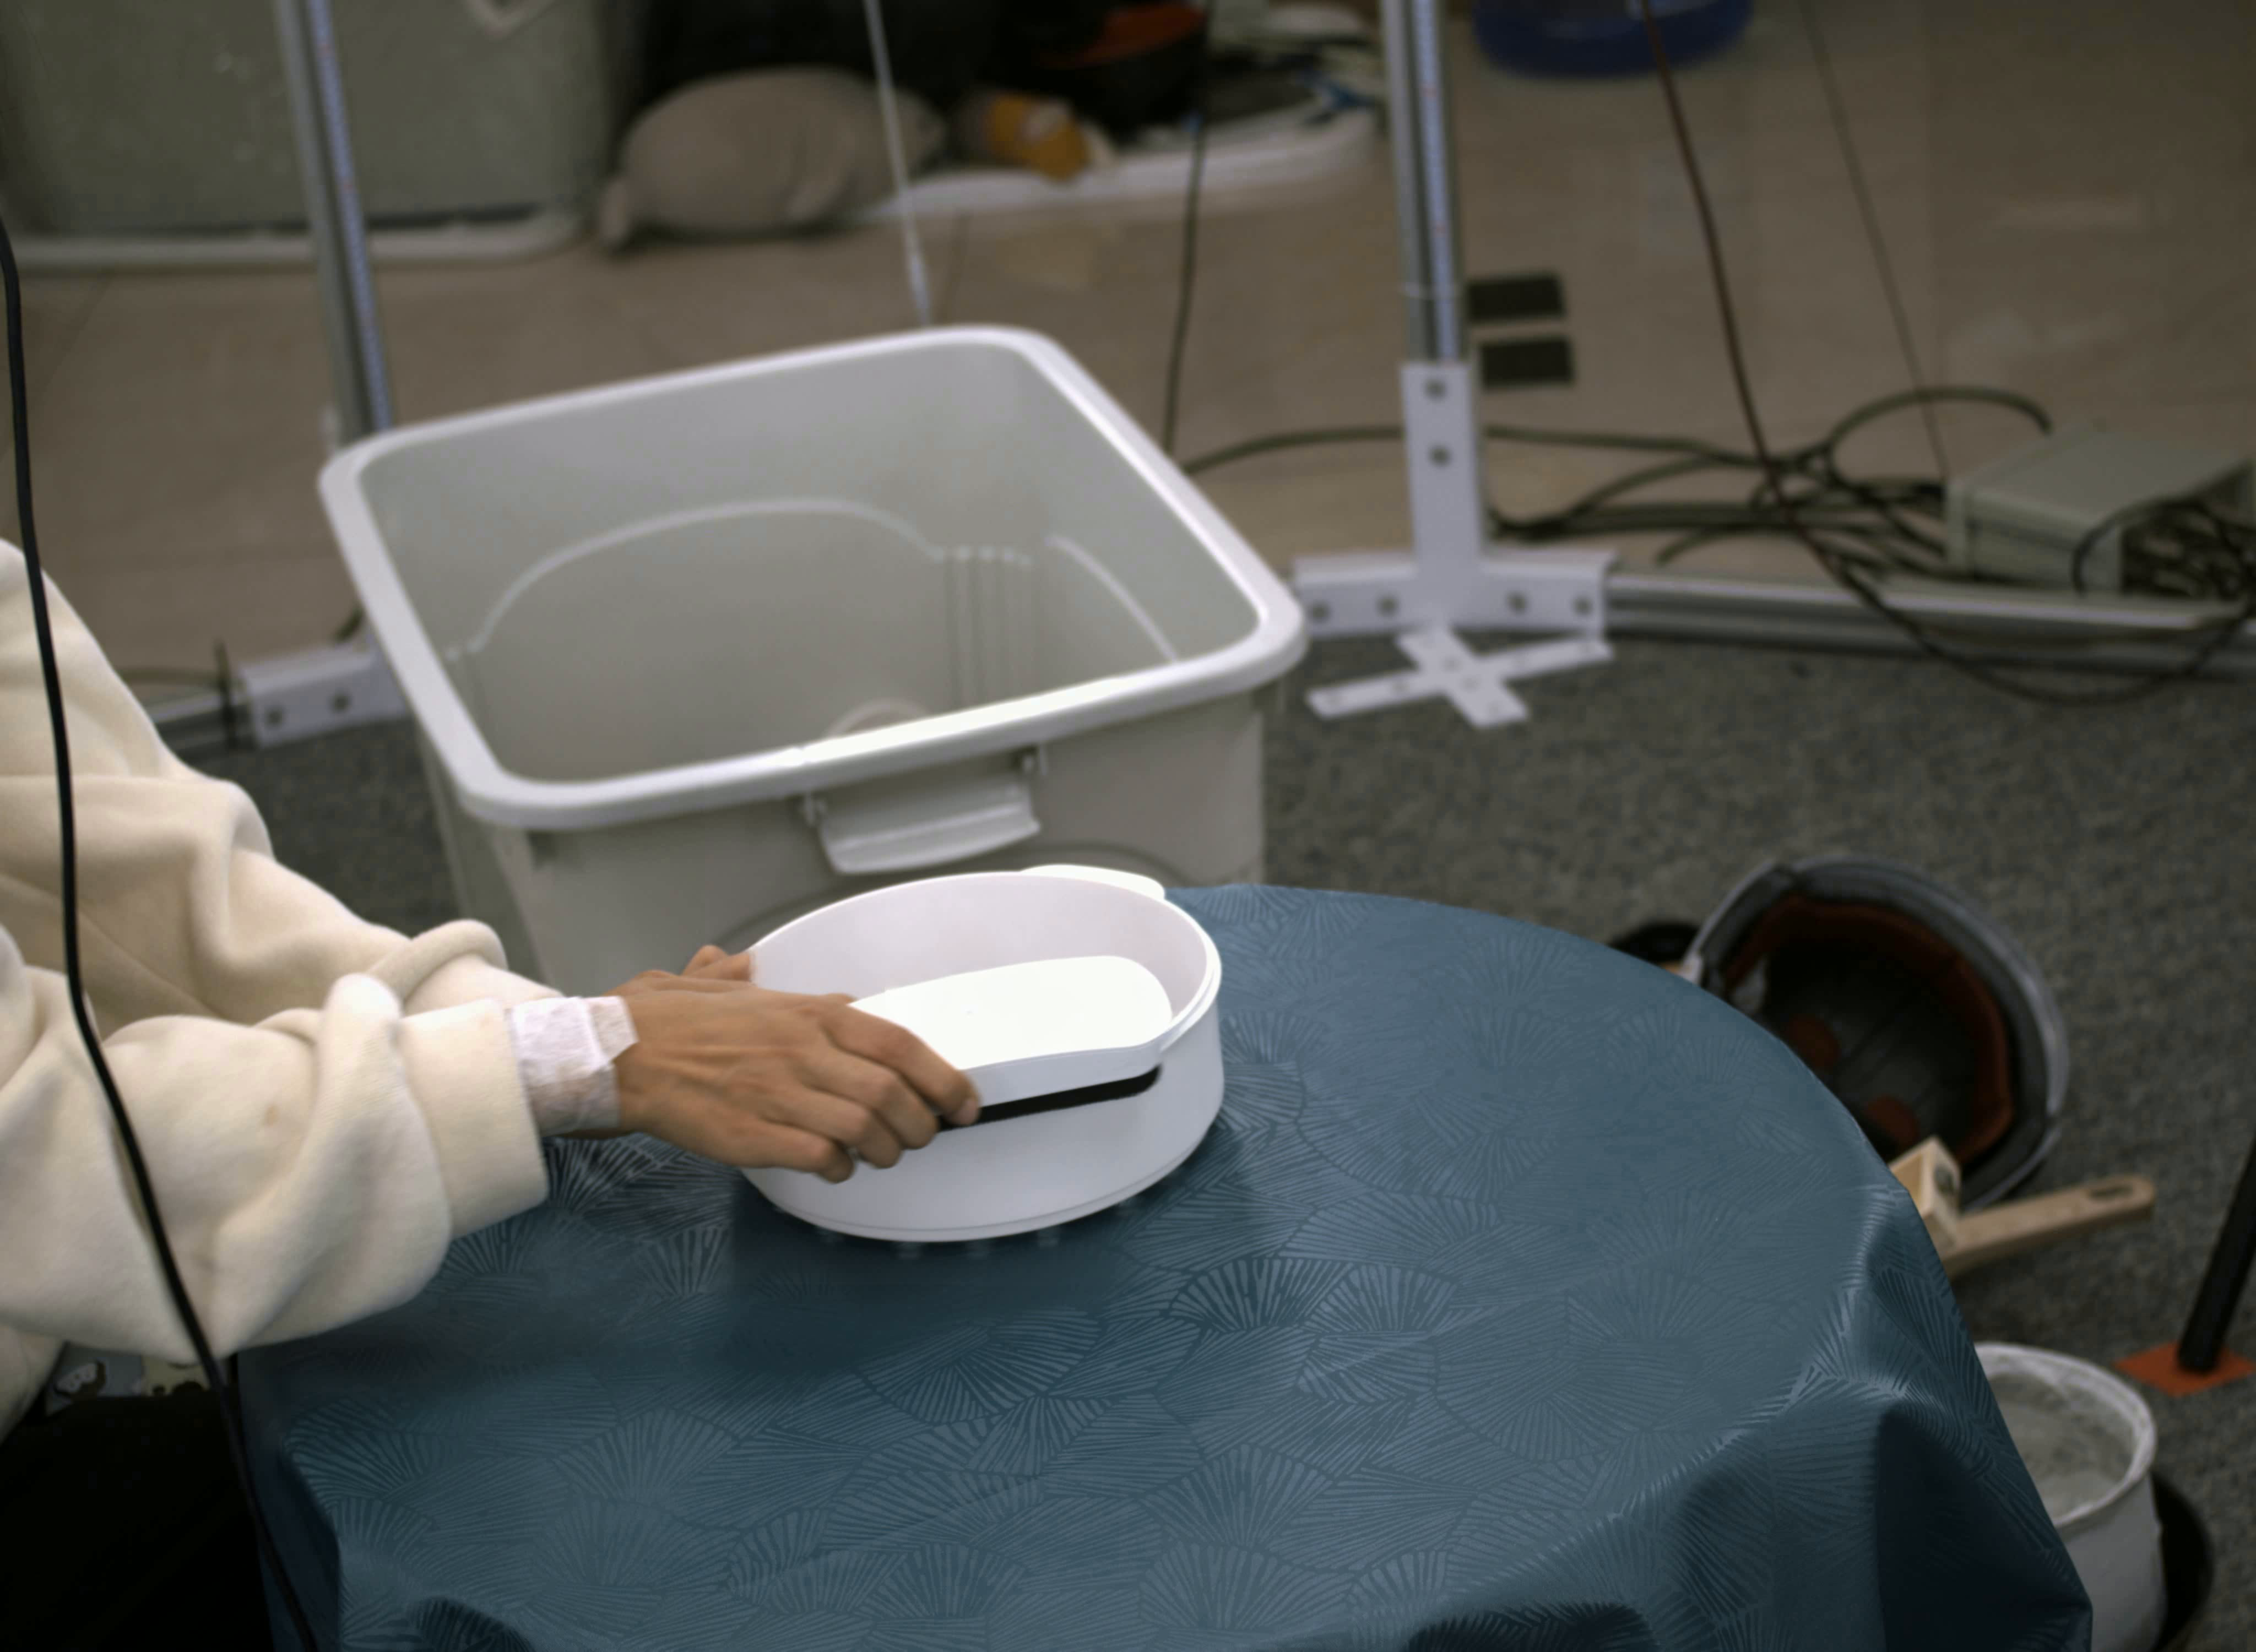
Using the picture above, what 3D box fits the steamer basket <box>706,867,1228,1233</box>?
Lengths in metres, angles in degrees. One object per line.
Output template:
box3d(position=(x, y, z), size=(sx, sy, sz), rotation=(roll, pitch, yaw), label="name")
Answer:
box3d(position=(-0.060, 0.088, 2.191), size=(0.201, 0.070, 0.228), rotation=(8, 27, 29), label="steamer basket")

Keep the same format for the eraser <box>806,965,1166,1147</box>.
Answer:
box3d(position=(-0.052, 0.082, 2.085), size=(0.131, 0.035, 0.062), rotation=(-9, 32, -3), label="eraser")
